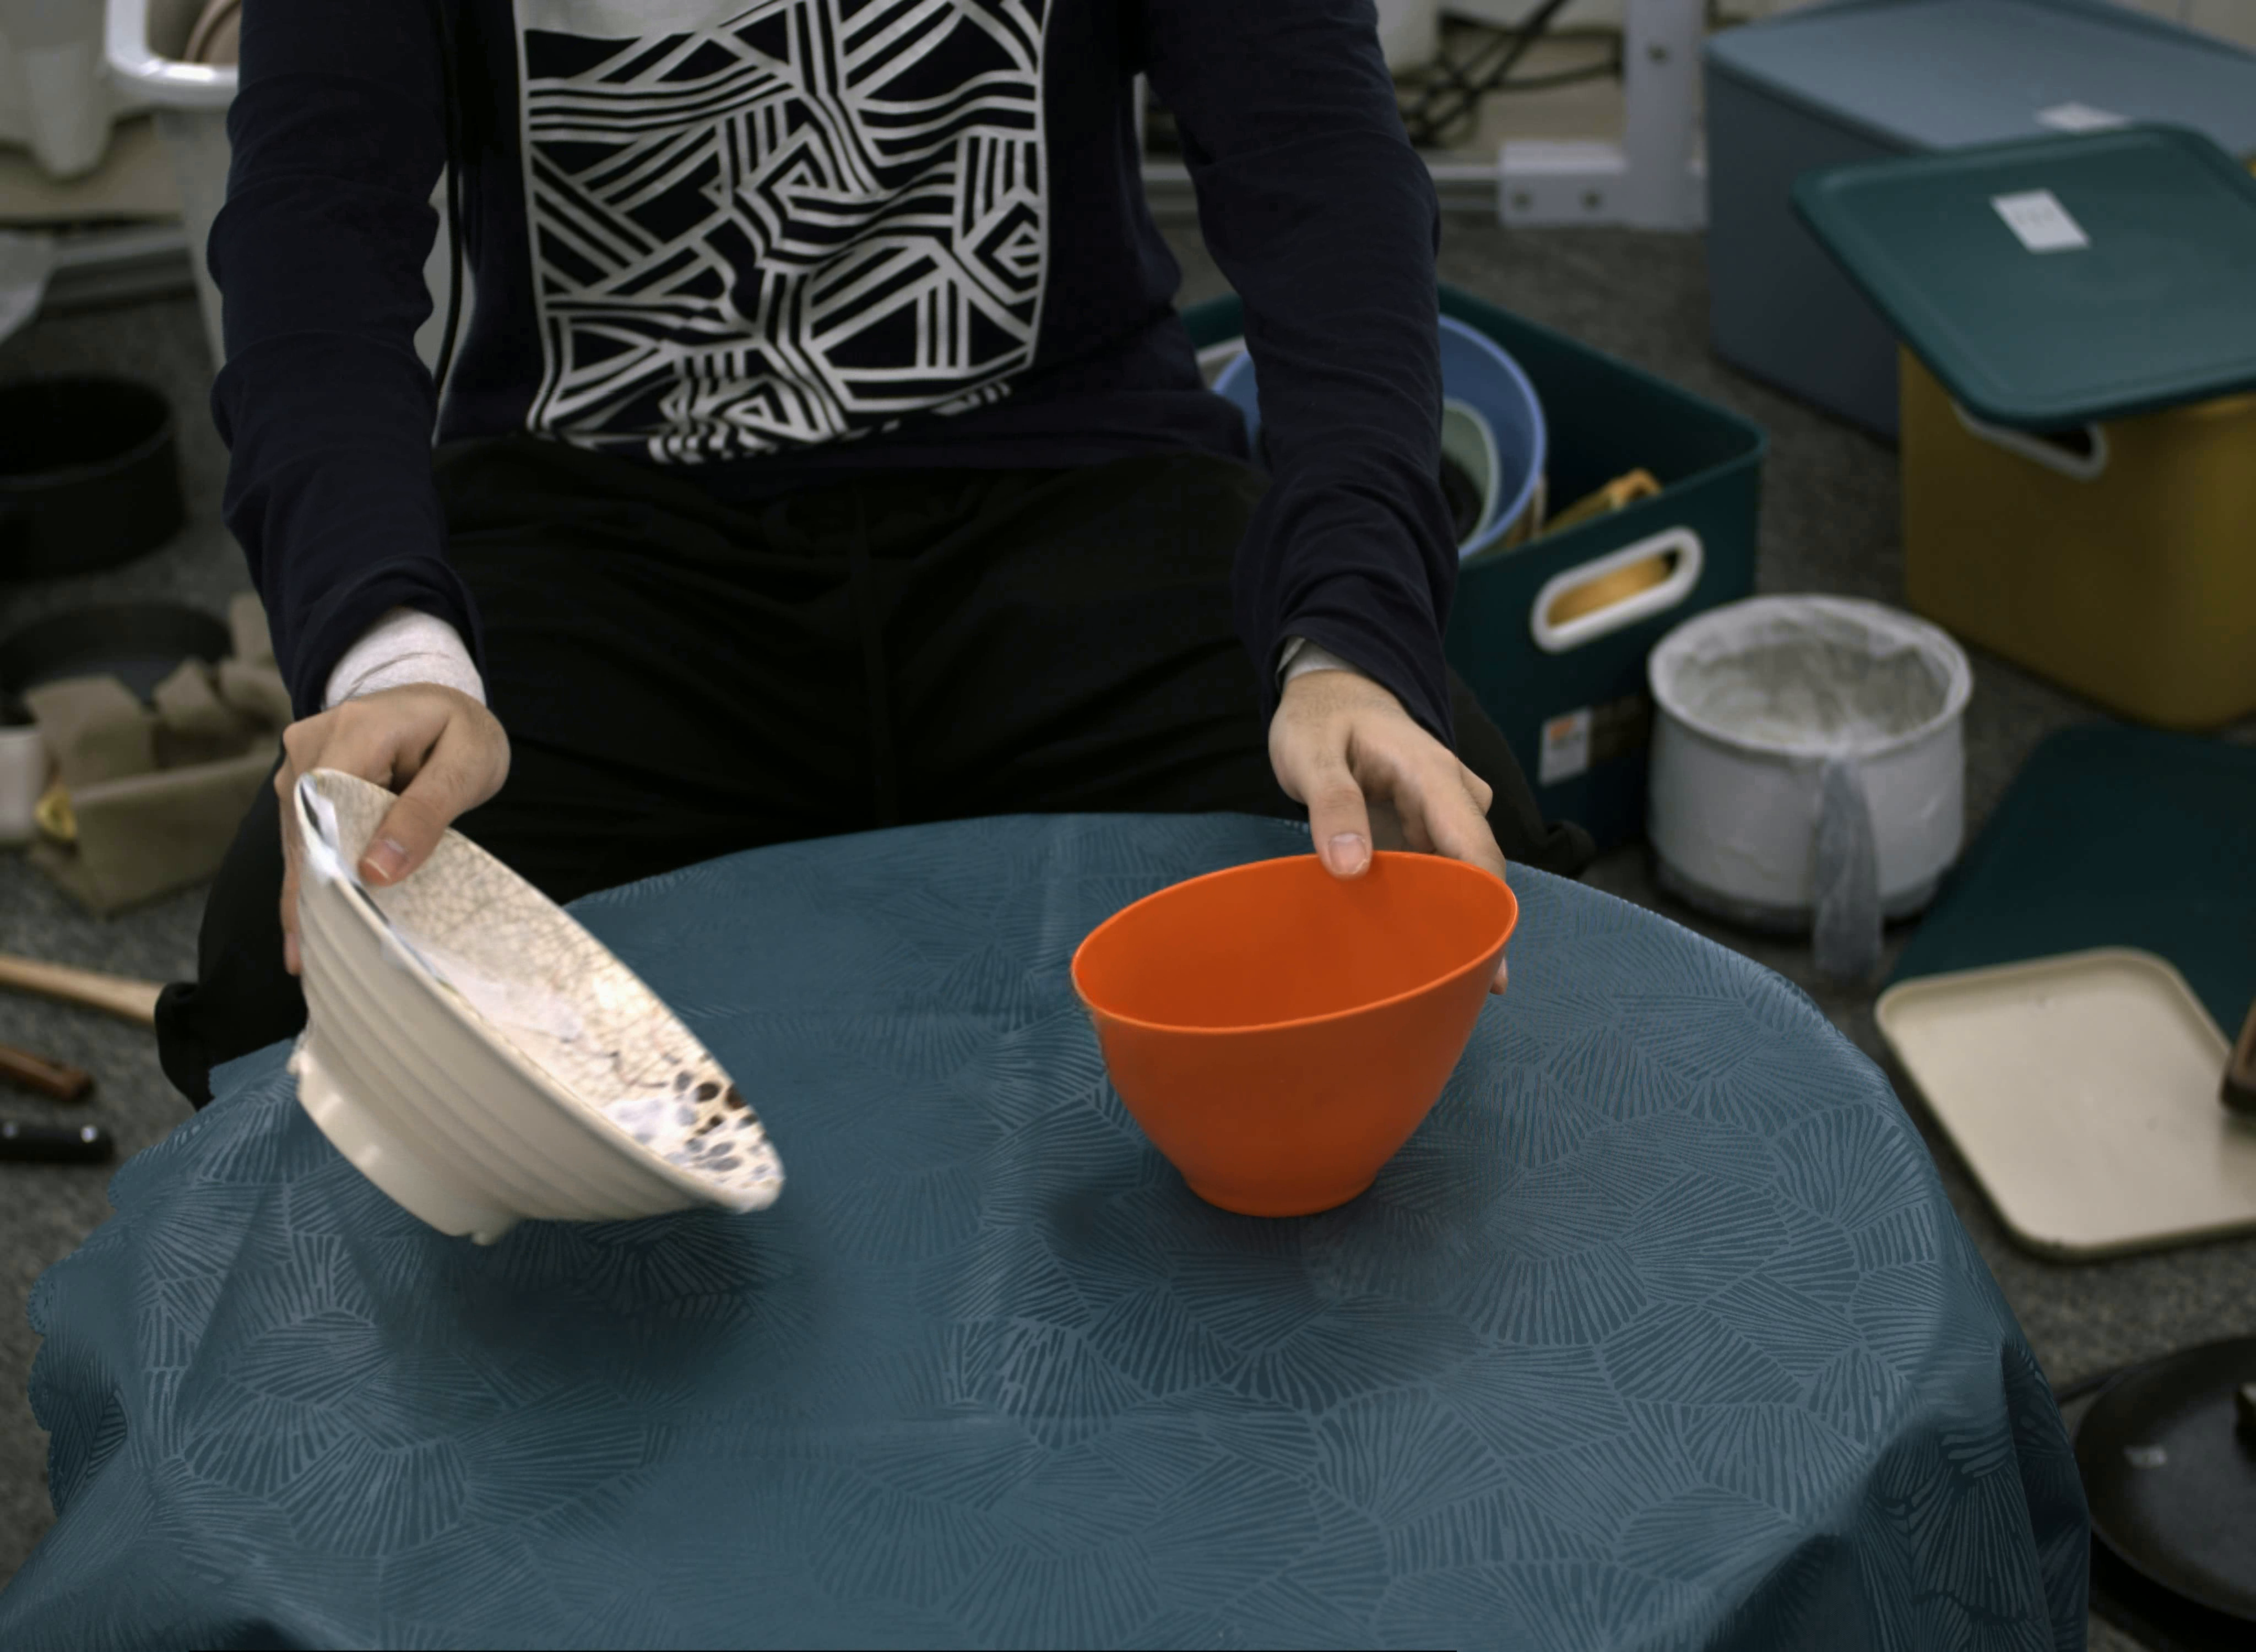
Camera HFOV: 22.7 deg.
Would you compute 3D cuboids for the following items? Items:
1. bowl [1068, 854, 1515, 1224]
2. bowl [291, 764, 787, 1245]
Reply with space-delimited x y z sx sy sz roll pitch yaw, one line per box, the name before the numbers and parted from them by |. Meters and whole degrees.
bowl | 0.055 0.073 1.841 0.147 0.103 0.150 -3 26 2
bowl | -0.209 0.077 1.795 0.077 0.203 0.206 -48 31 7
